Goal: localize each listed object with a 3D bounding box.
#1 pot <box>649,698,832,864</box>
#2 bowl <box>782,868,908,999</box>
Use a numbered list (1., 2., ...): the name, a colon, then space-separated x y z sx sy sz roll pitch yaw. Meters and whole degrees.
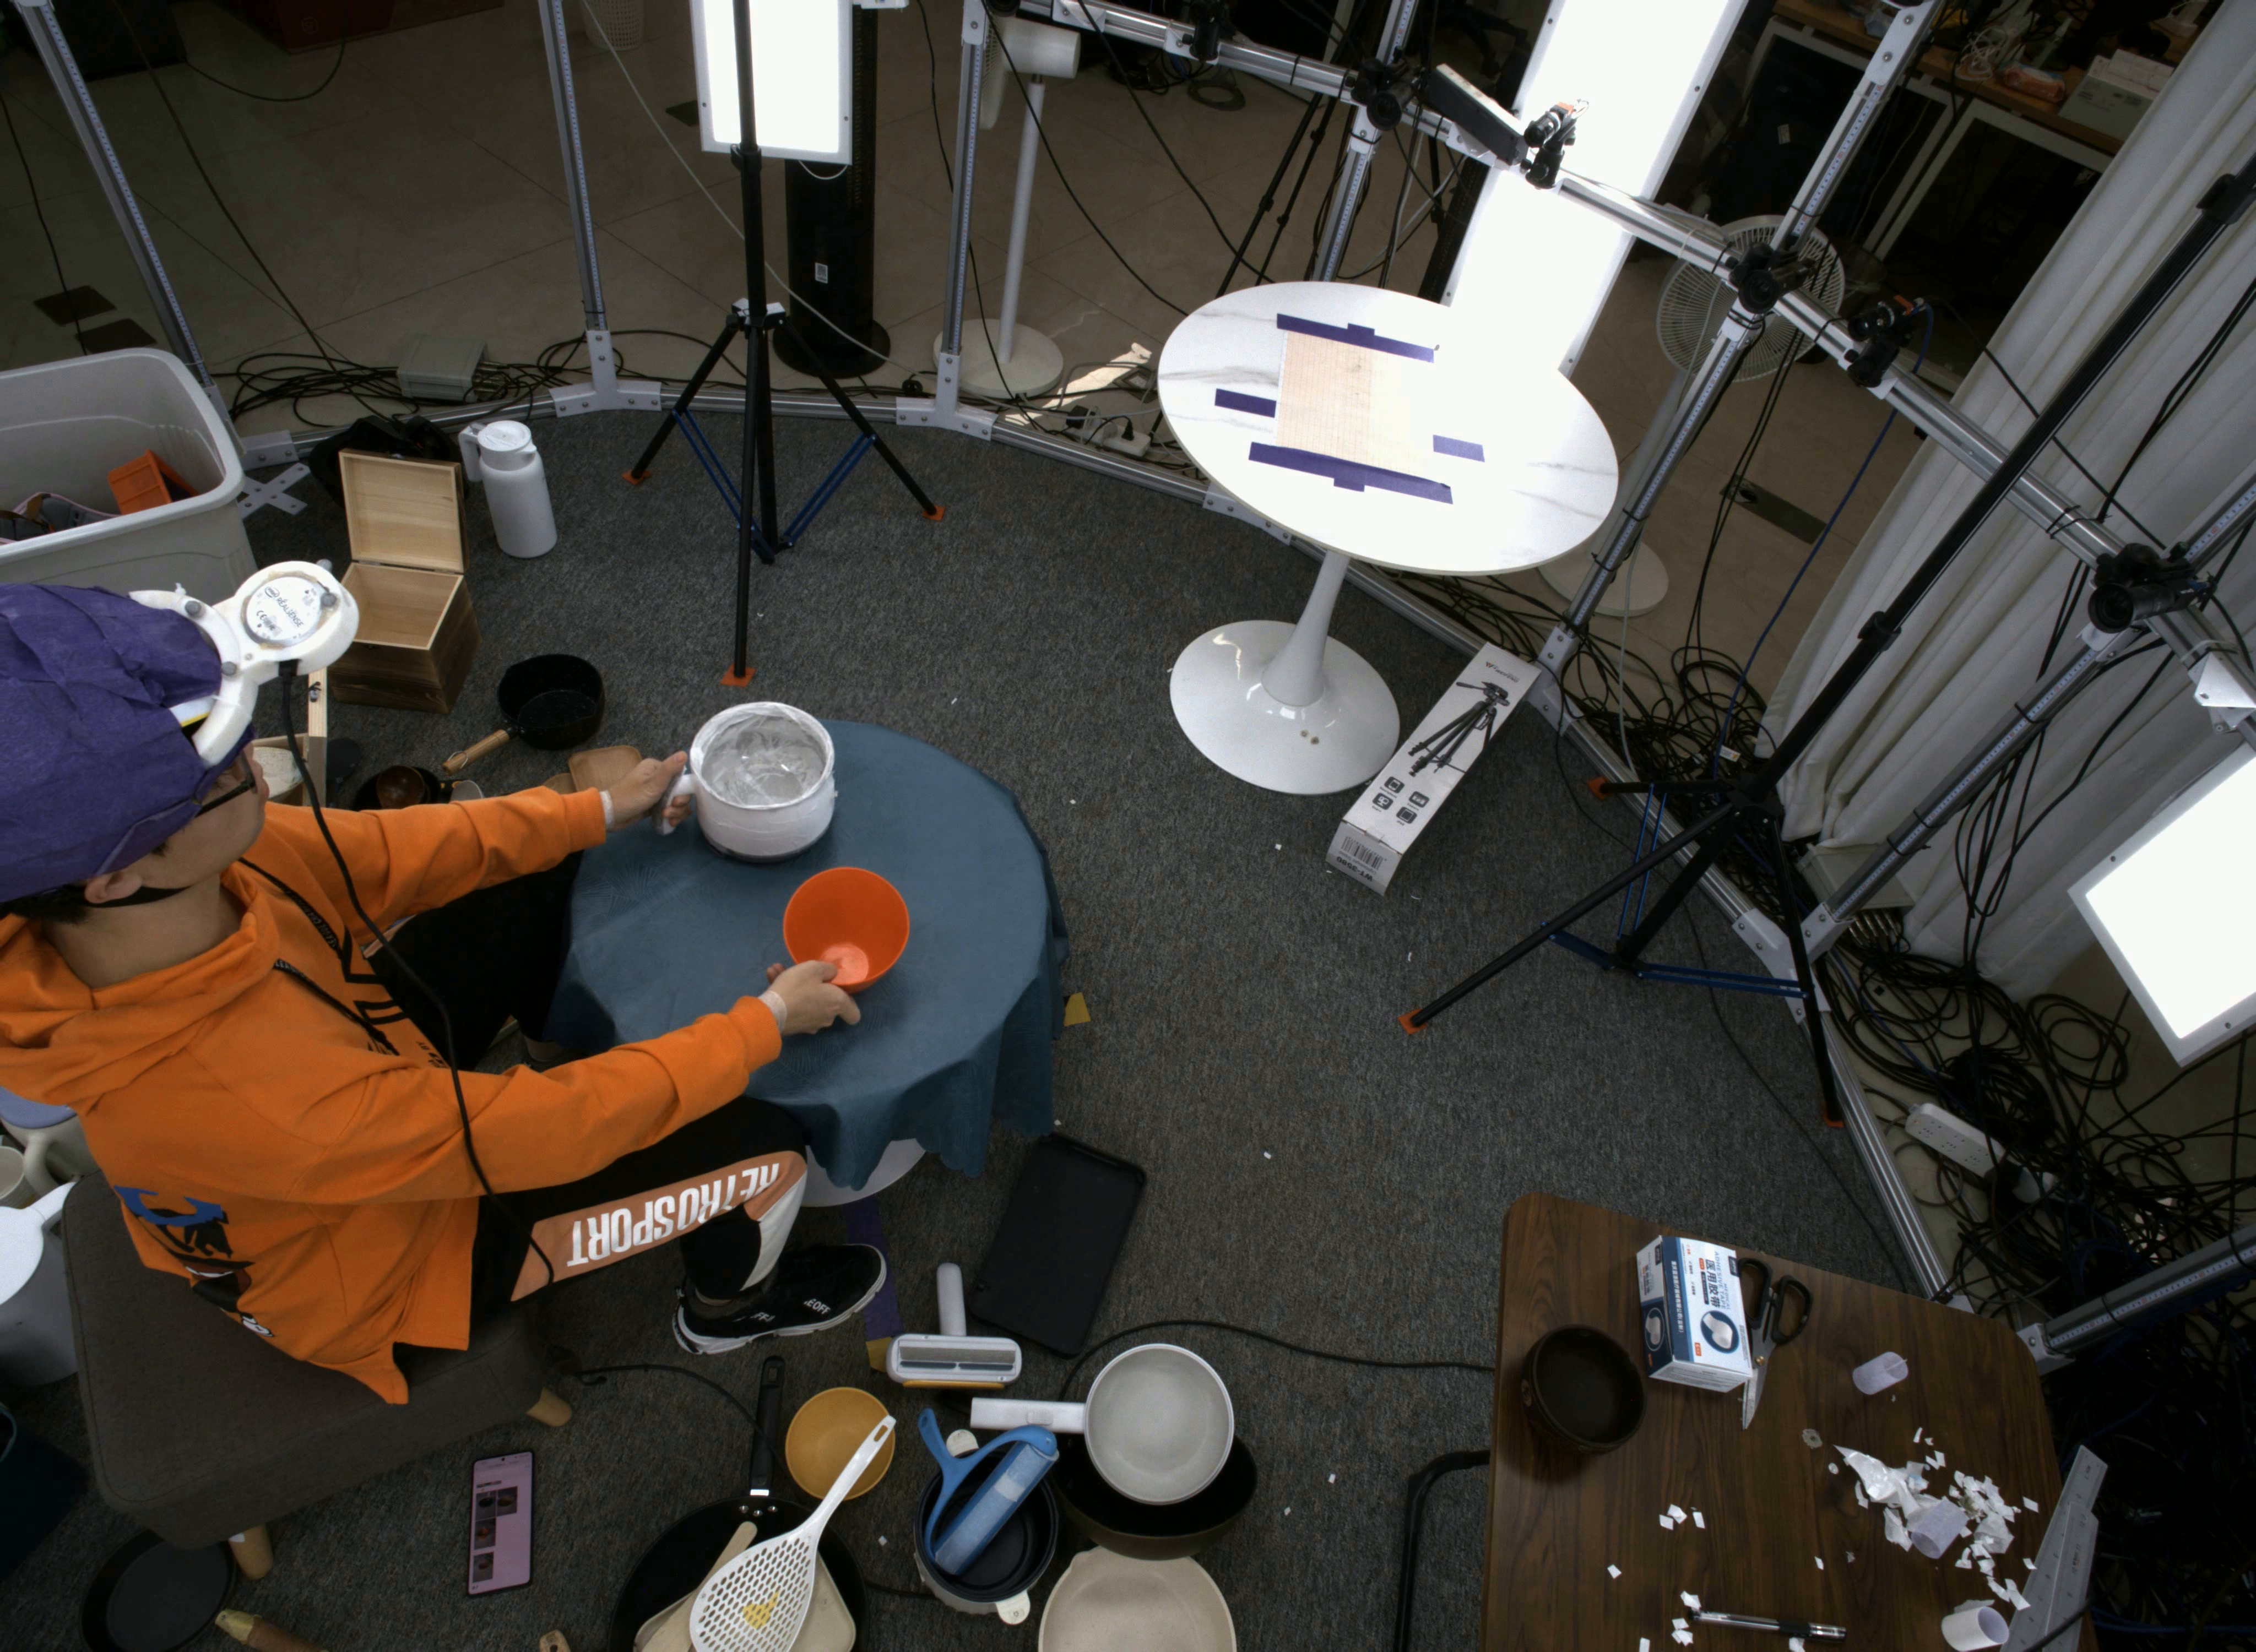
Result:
1. pot: -0.493 -0.048 1.642 0.235 0.139 0.174 -12 56 -23
2. bowl: -0.341 0.140 1.566 0.148 0.106 0.146 7 57 -10
